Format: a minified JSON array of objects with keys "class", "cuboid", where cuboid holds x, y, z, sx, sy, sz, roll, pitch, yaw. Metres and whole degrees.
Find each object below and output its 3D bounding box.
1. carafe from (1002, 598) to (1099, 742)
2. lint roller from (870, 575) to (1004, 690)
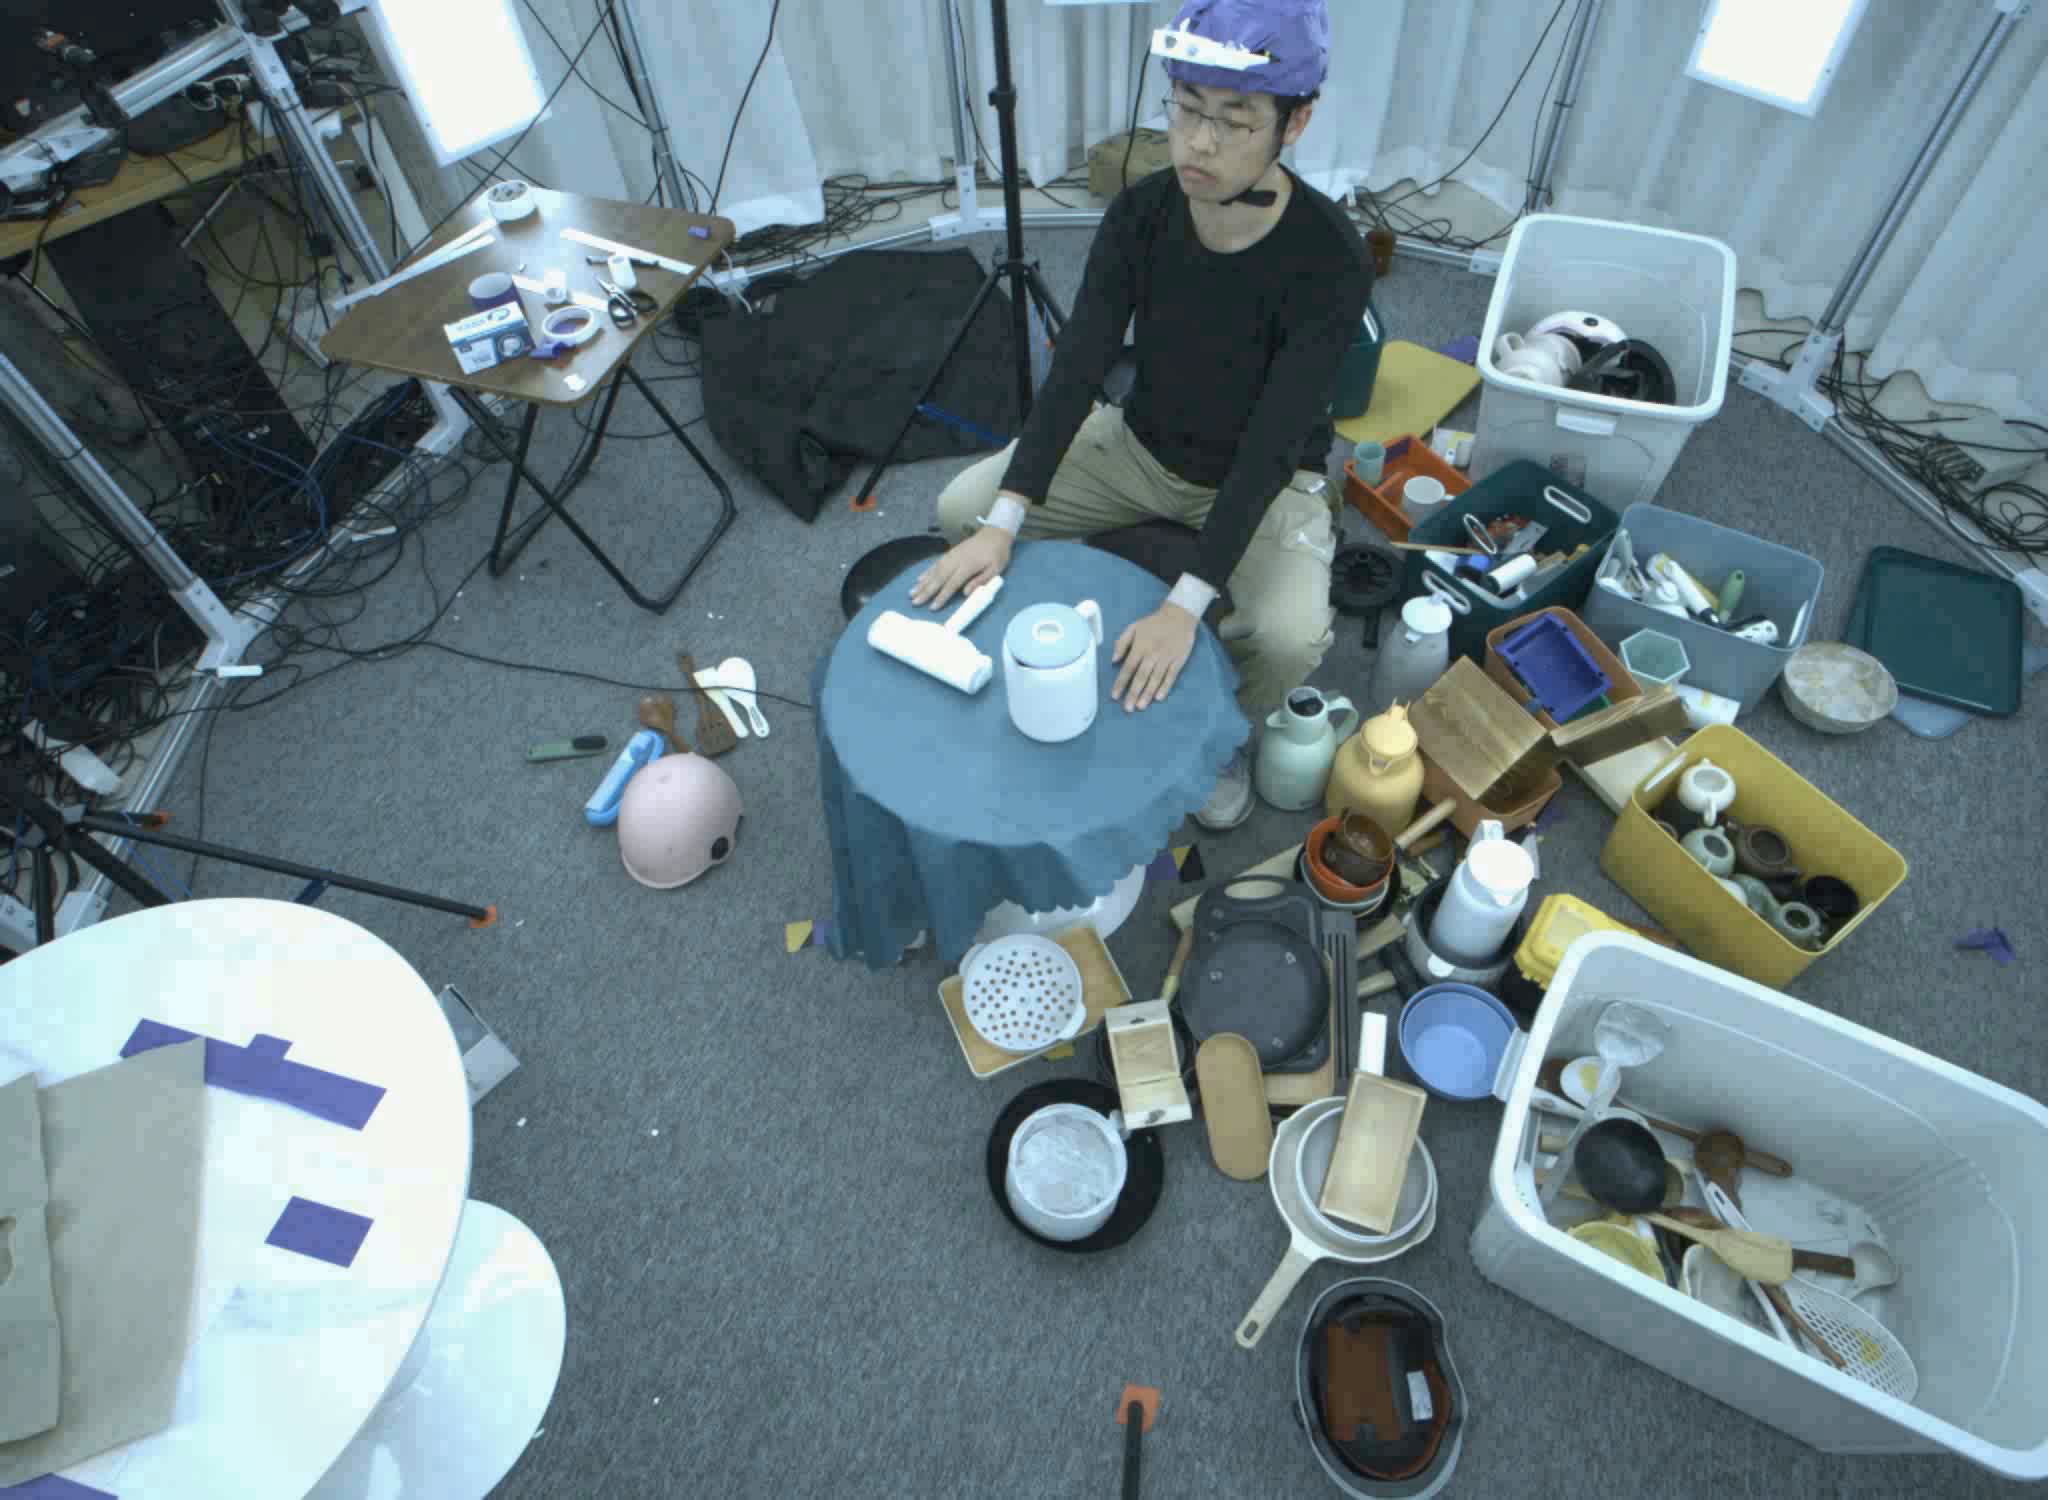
[{"class":"carafe","cuboid":[0.052,-0.127,1.770,0.130,0.184,0.192,29,59,21]},{"class":"lint roller","cuboid":[-0.100,-0.206,1.910,0.200,0.049,0.226,26,58,20]}]
